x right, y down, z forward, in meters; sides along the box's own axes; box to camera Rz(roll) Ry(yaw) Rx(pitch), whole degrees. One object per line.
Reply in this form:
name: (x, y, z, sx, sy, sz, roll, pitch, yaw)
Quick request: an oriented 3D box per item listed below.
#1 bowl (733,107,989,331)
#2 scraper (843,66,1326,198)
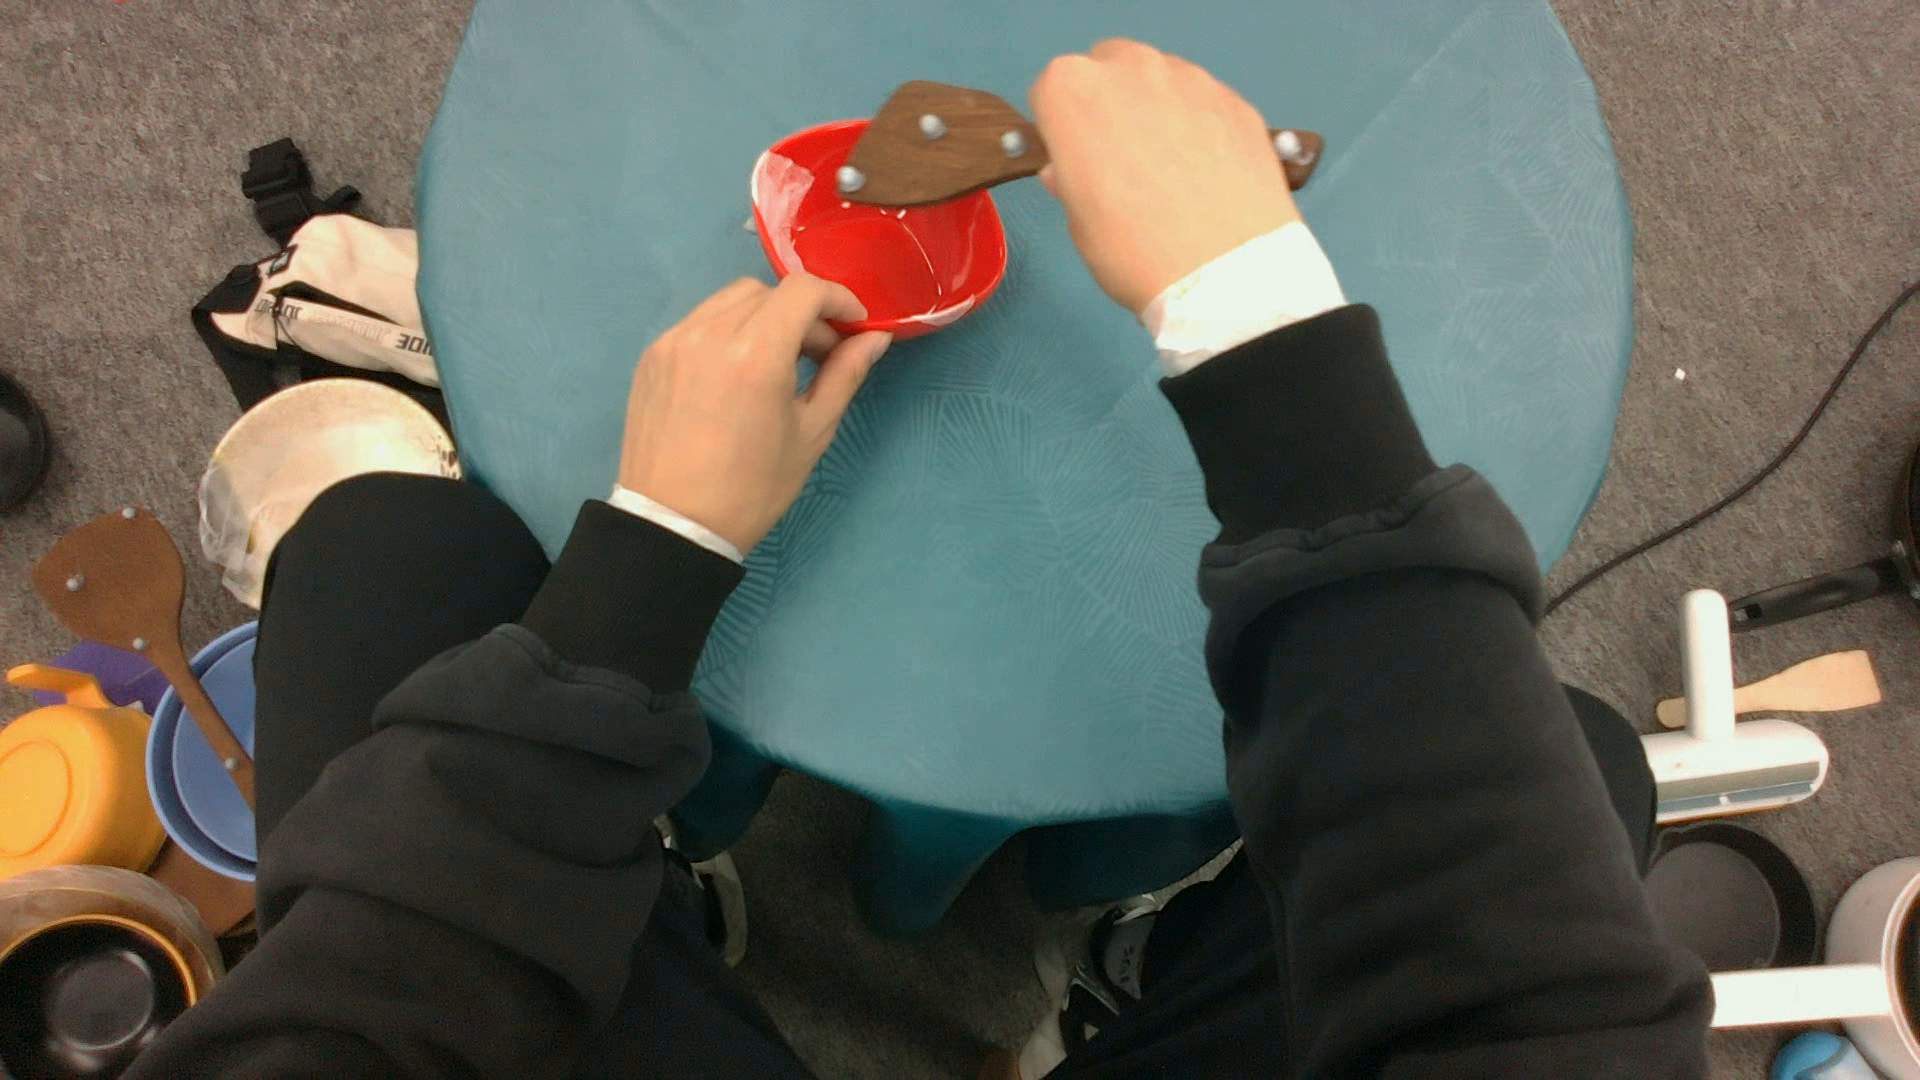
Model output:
bowl: (-0.049, -0.139, 0.632, 0.119, 0.051, 0.119, 7, 62, -14)
scraper: (0.044, -0.160, 0.549, 0.211, 0.011, 0.076, 15, 63, 36)
